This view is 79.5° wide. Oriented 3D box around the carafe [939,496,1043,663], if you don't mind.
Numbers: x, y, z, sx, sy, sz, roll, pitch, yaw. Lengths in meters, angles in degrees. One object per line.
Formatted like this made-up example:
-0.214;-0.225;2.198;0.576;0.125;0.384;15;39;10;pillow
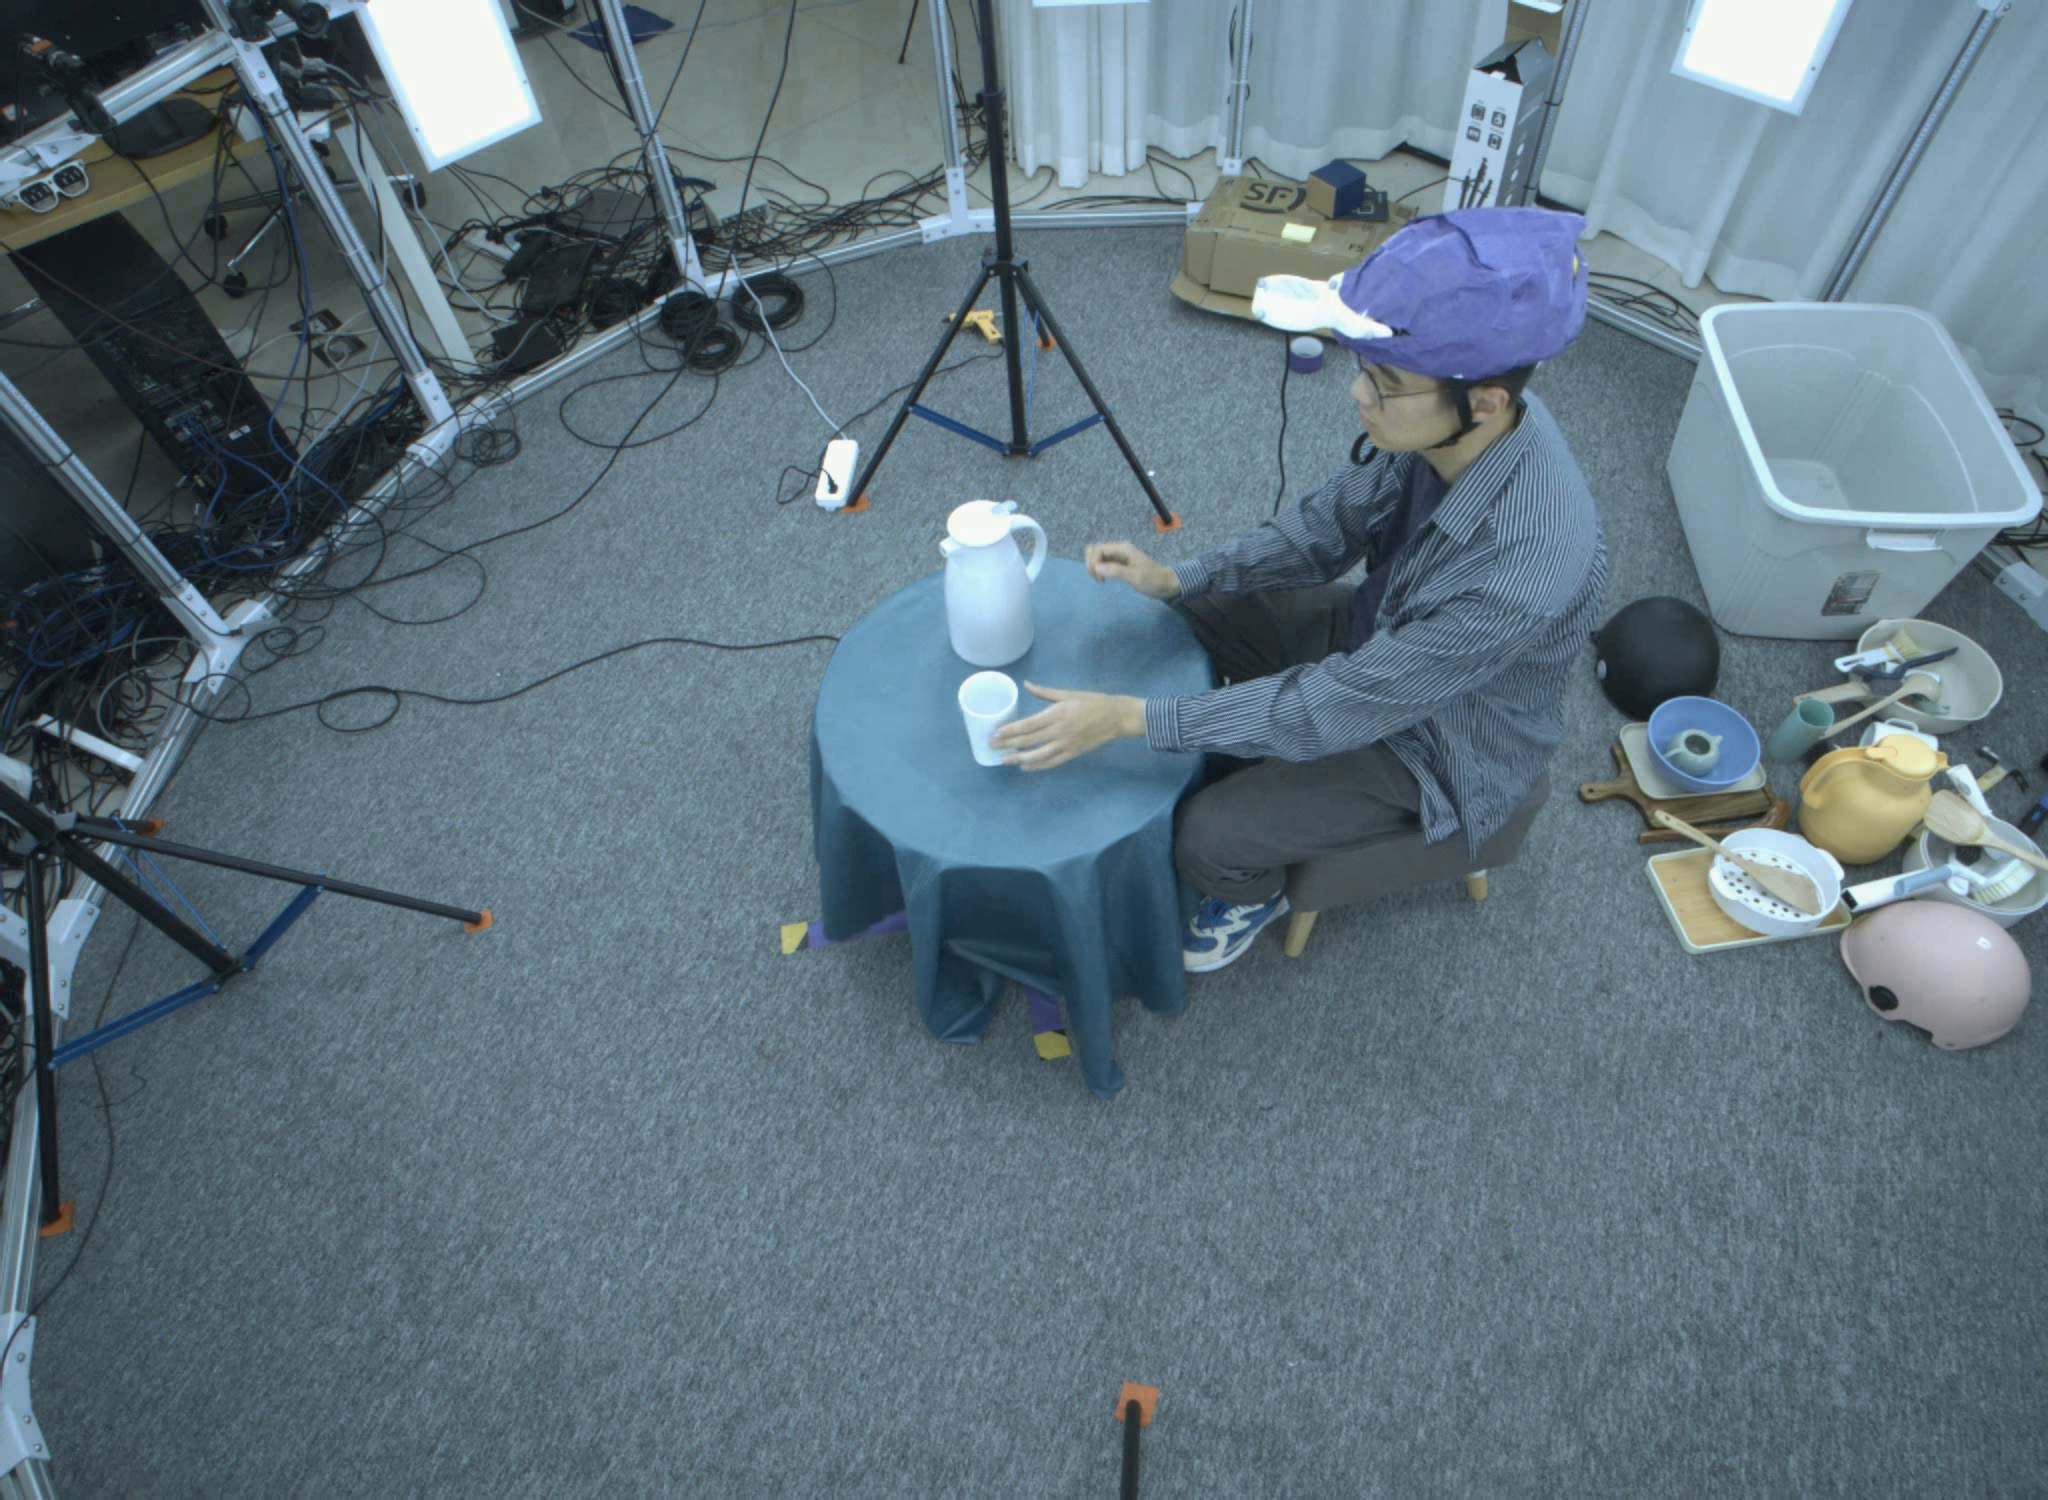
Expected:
-0.042;-0.268;1.824;0.169;0.252;0.130;-36;58;-18;carafe

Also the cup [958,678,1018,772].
-0.047;-0.032;1.736;0.081;0.127;0.081;-1;54;3;cup
